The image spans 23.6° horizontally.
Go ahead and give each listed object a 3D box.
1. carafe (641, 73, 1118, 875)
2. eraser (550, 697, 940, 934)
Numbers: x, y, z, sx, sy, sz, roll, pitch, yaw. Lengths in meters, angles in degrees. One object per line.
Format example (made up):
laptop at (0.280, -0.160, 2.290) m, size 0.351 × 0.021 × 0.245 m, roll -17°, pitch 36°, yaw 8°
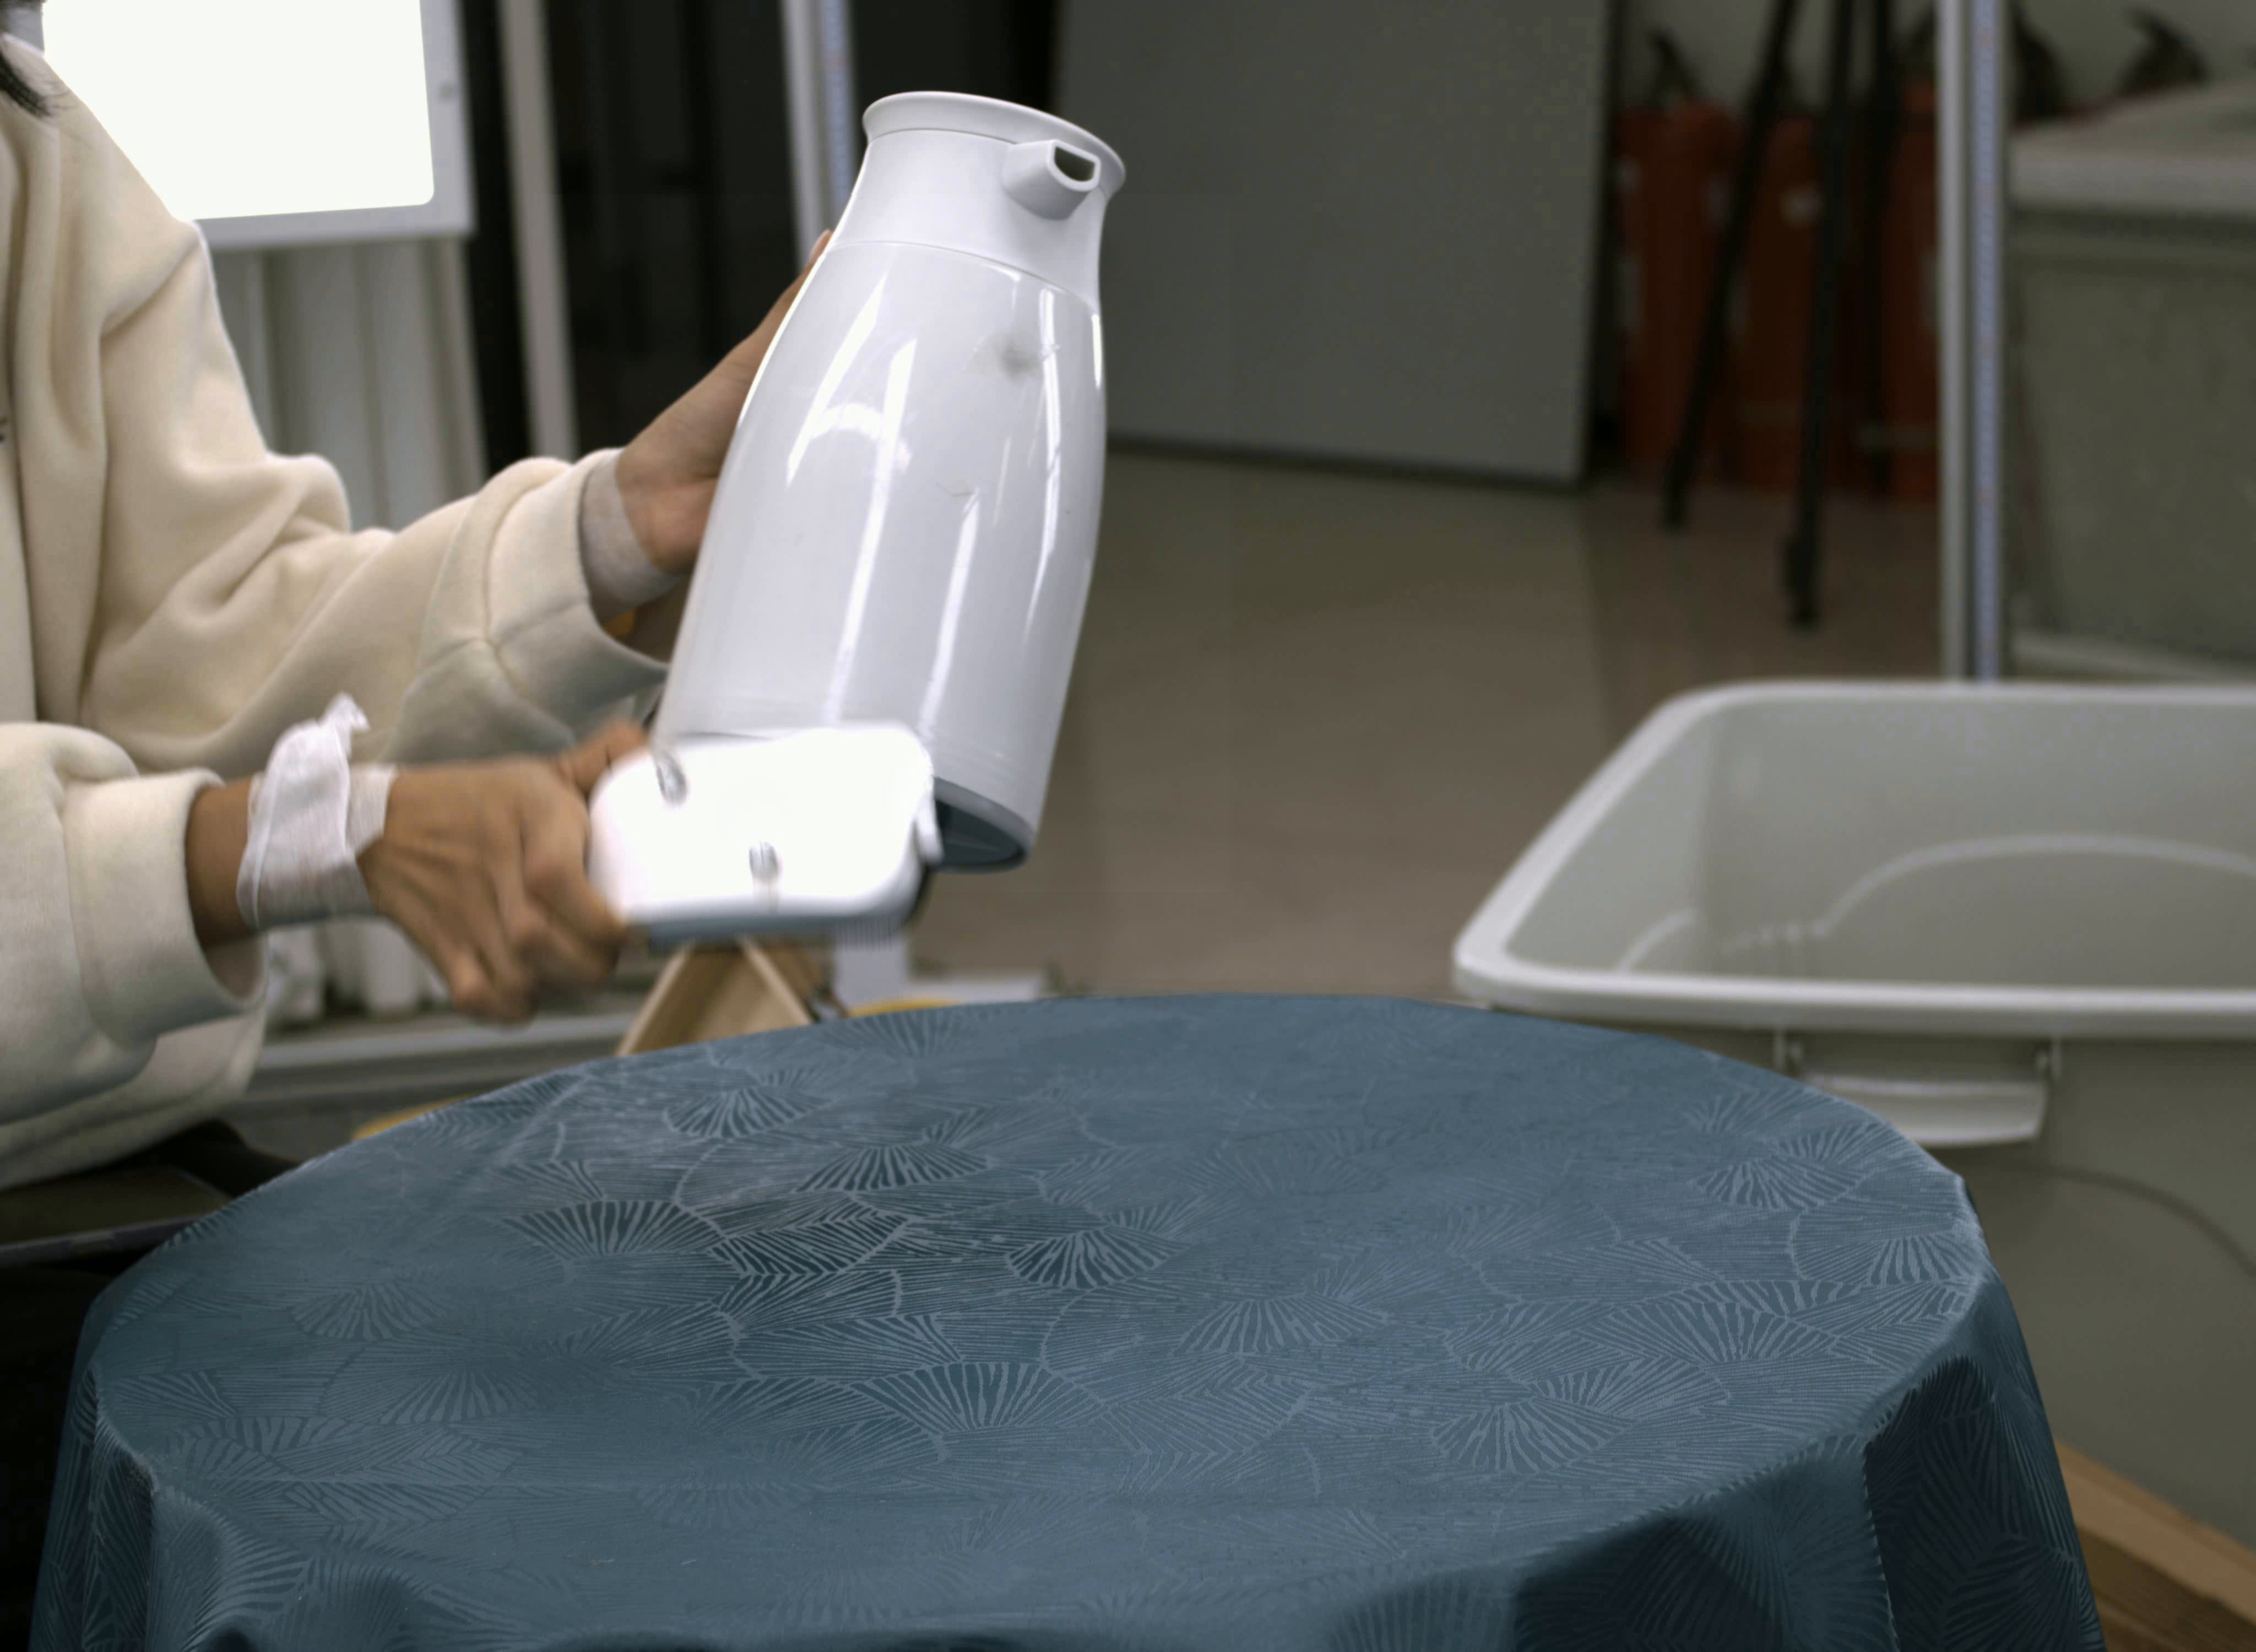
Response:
carafe at (-0.083, -0.121, 1.821) m, size 0.130 × 0.251 × 0.169 m, roll 20°, pitch -16°, yaw -29°
eraser at (-0.119, -0.004, 1.669) m, size 0.132 × 0.034 × 0.064 m, roll -8°, pitch 52°, yaw 35°
